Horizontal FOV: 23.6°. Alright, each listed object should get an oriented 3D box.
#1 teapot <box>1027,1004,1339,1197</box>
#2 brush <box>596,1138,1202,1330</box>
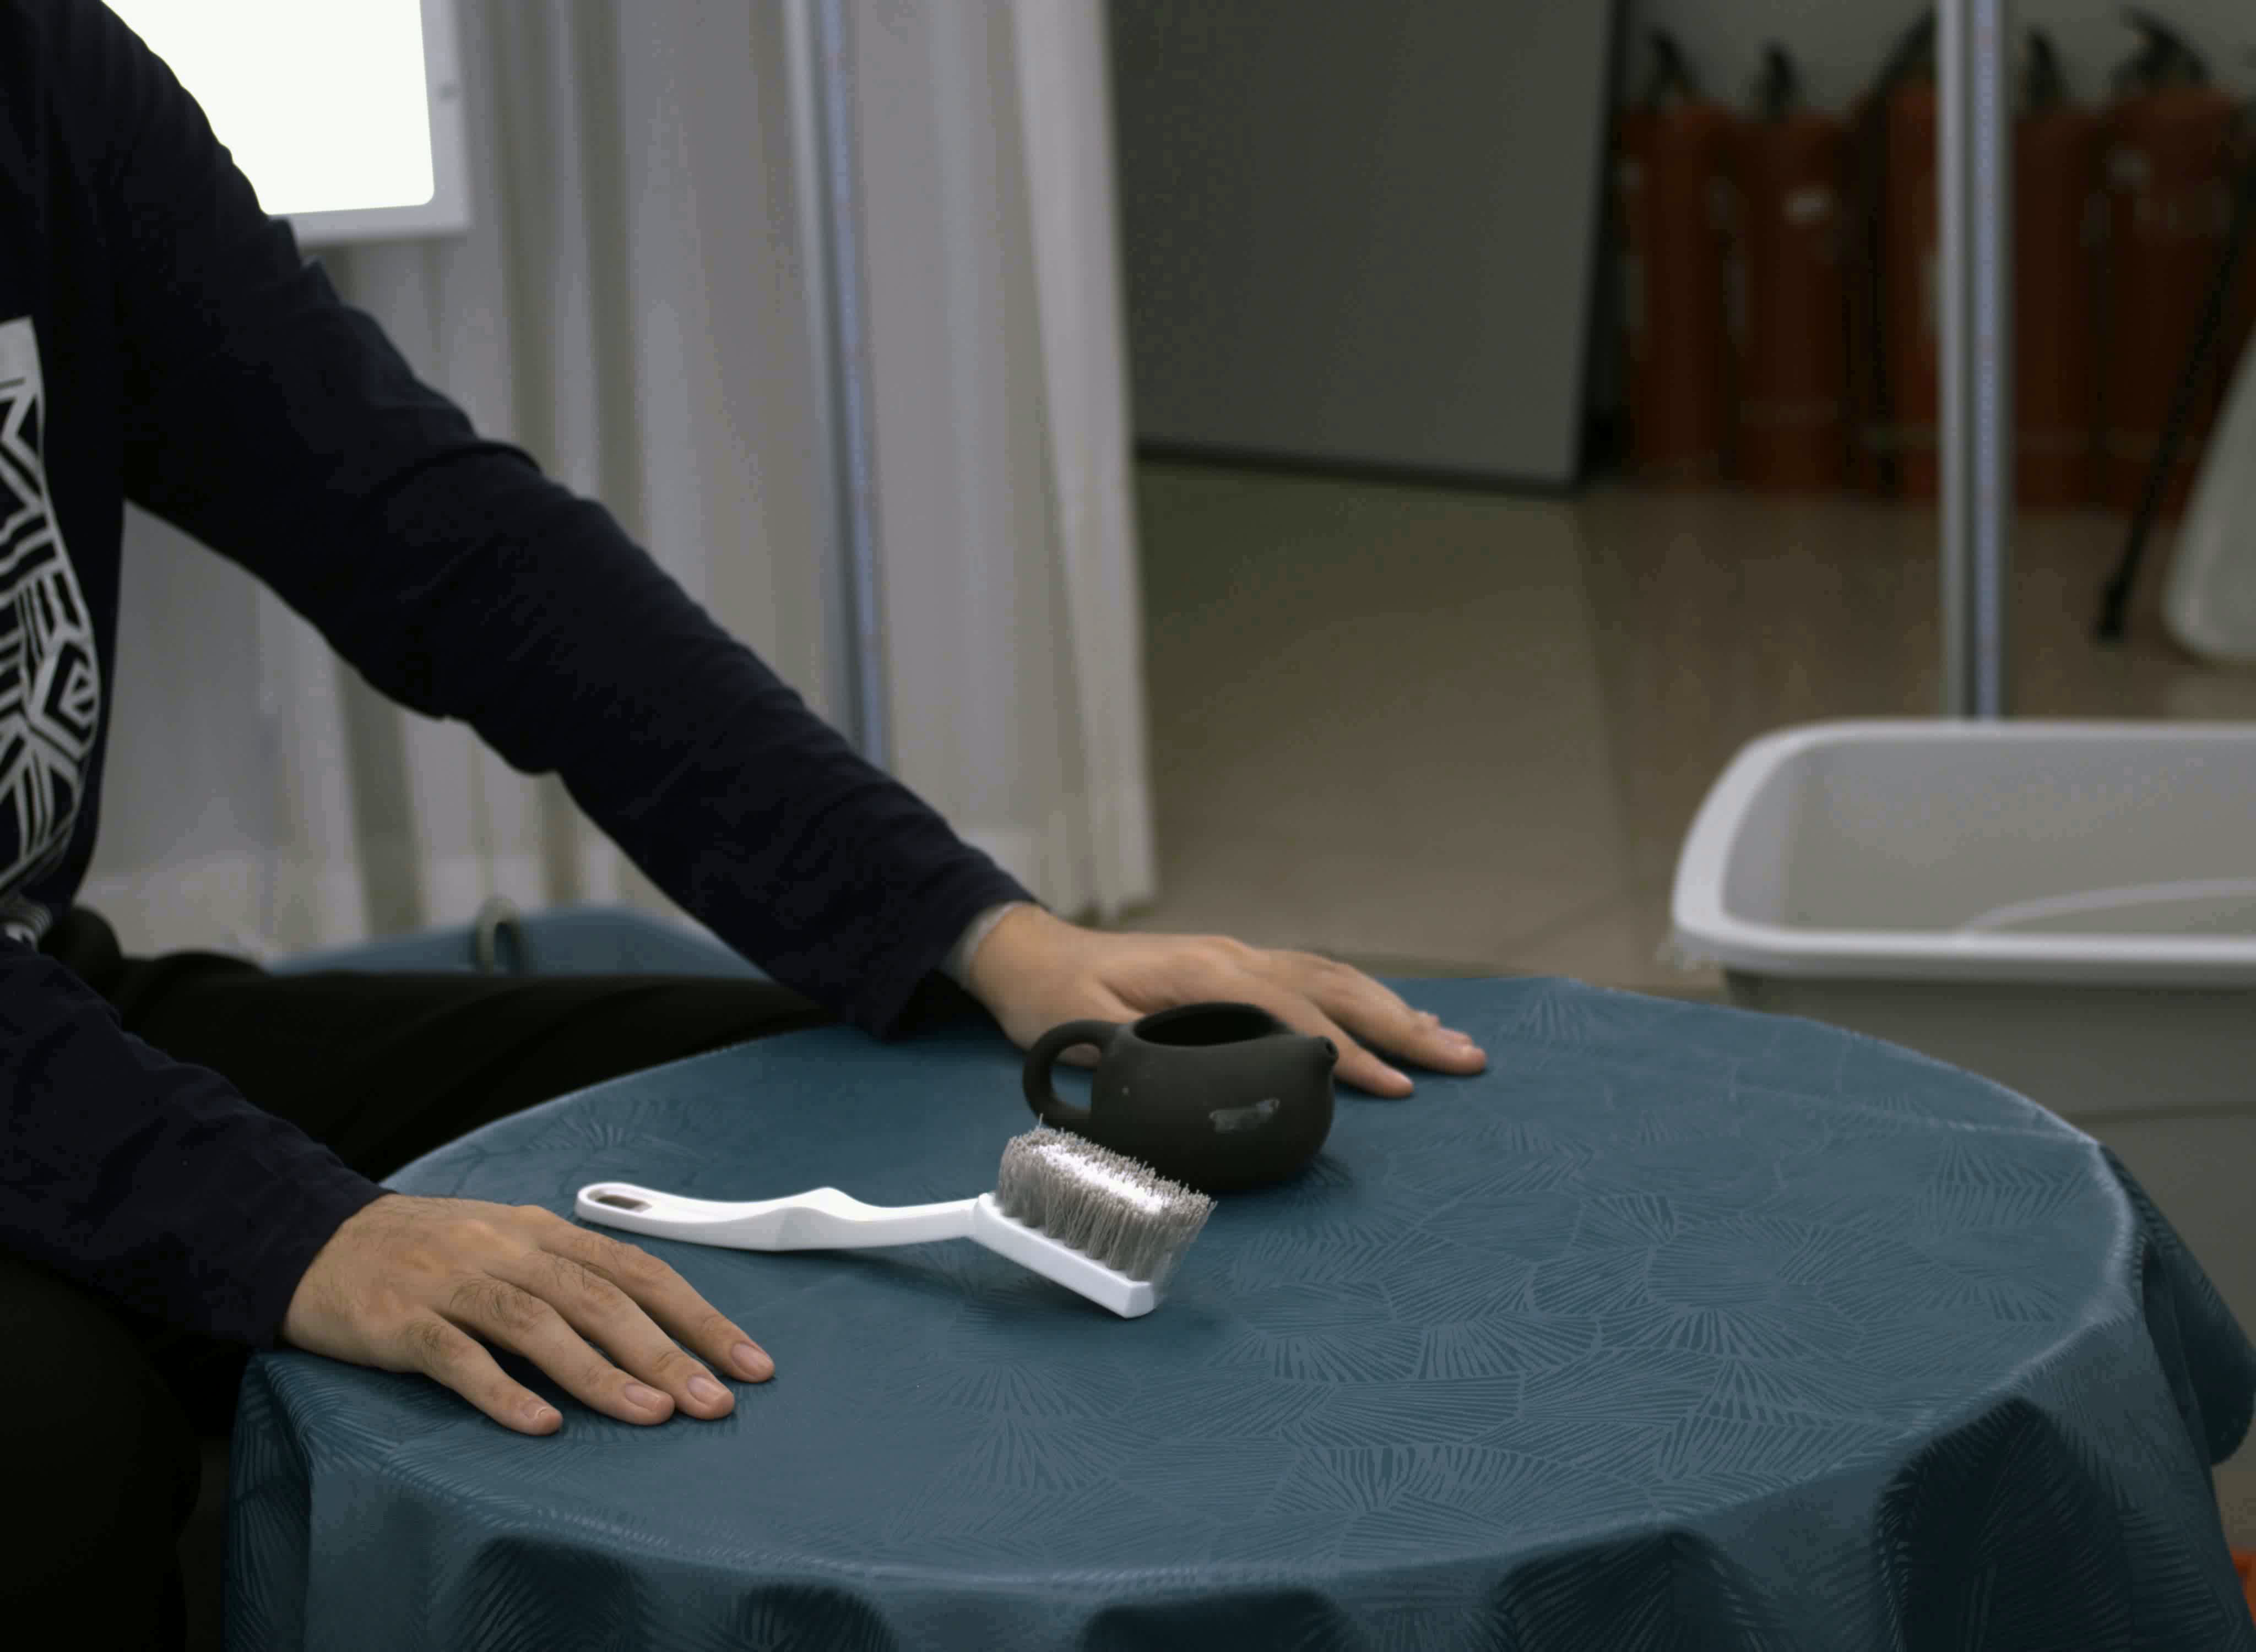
[{"bbox_3d":[0.018,0.090,1.792,0.114,0.053,0.082,3,16,26],"label":"teapot"},{"bbox_3d":[-0.079,0.117,1.717,0.245,0.051,0.034,7,21,38],"label":"brush"}]
